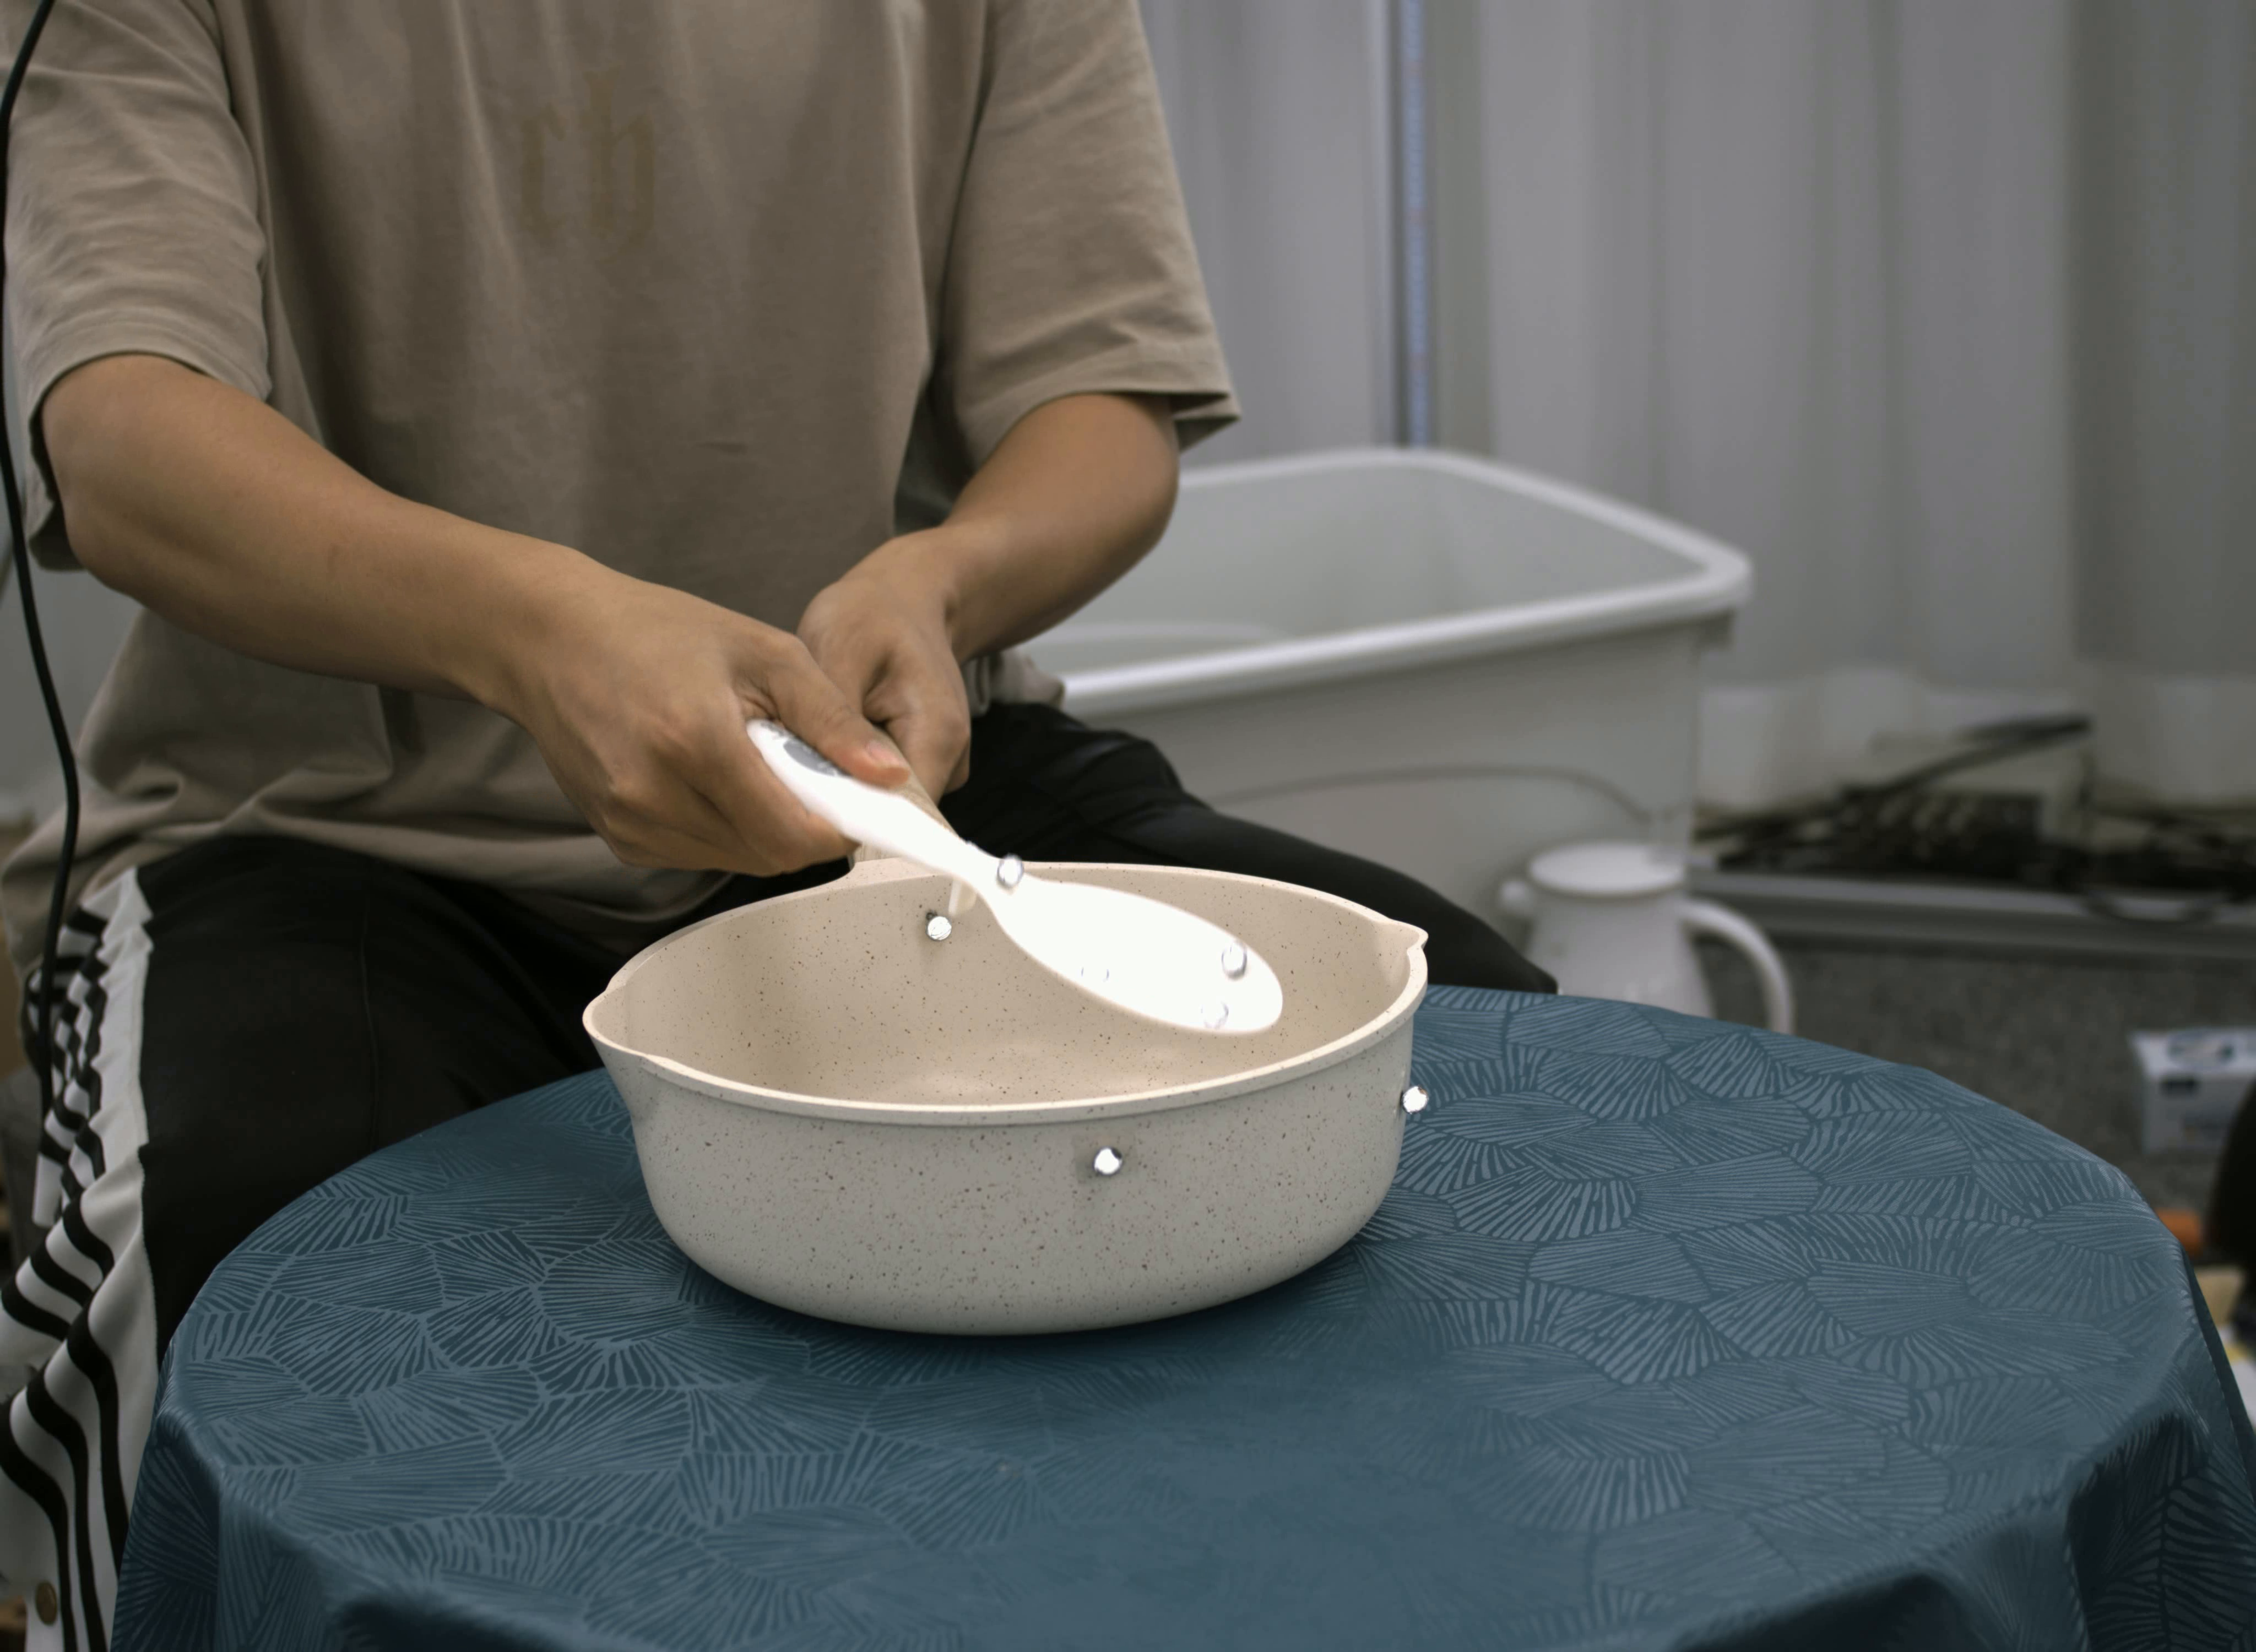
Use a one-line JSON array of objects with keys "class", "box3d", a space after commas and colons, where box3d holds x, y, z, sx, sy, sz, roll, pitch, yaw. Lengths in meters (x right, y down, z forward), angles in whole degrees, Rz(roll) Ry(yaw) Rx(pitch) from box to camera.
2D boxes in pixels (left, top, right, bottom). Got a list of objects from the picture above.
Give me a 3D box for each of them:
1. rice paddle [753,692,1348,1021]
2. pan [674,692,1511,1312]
[{"class": "rice paddle", "box3d": [-0.023, 0.012, 1.674, 0.206, 0.029, 0.069, 25, 28, 22]}, {"class": "pan", "box3d": [-0.030, 0.051, 1.761, 0.262, 0.101, 0.438, -8, 15, -13]}]
